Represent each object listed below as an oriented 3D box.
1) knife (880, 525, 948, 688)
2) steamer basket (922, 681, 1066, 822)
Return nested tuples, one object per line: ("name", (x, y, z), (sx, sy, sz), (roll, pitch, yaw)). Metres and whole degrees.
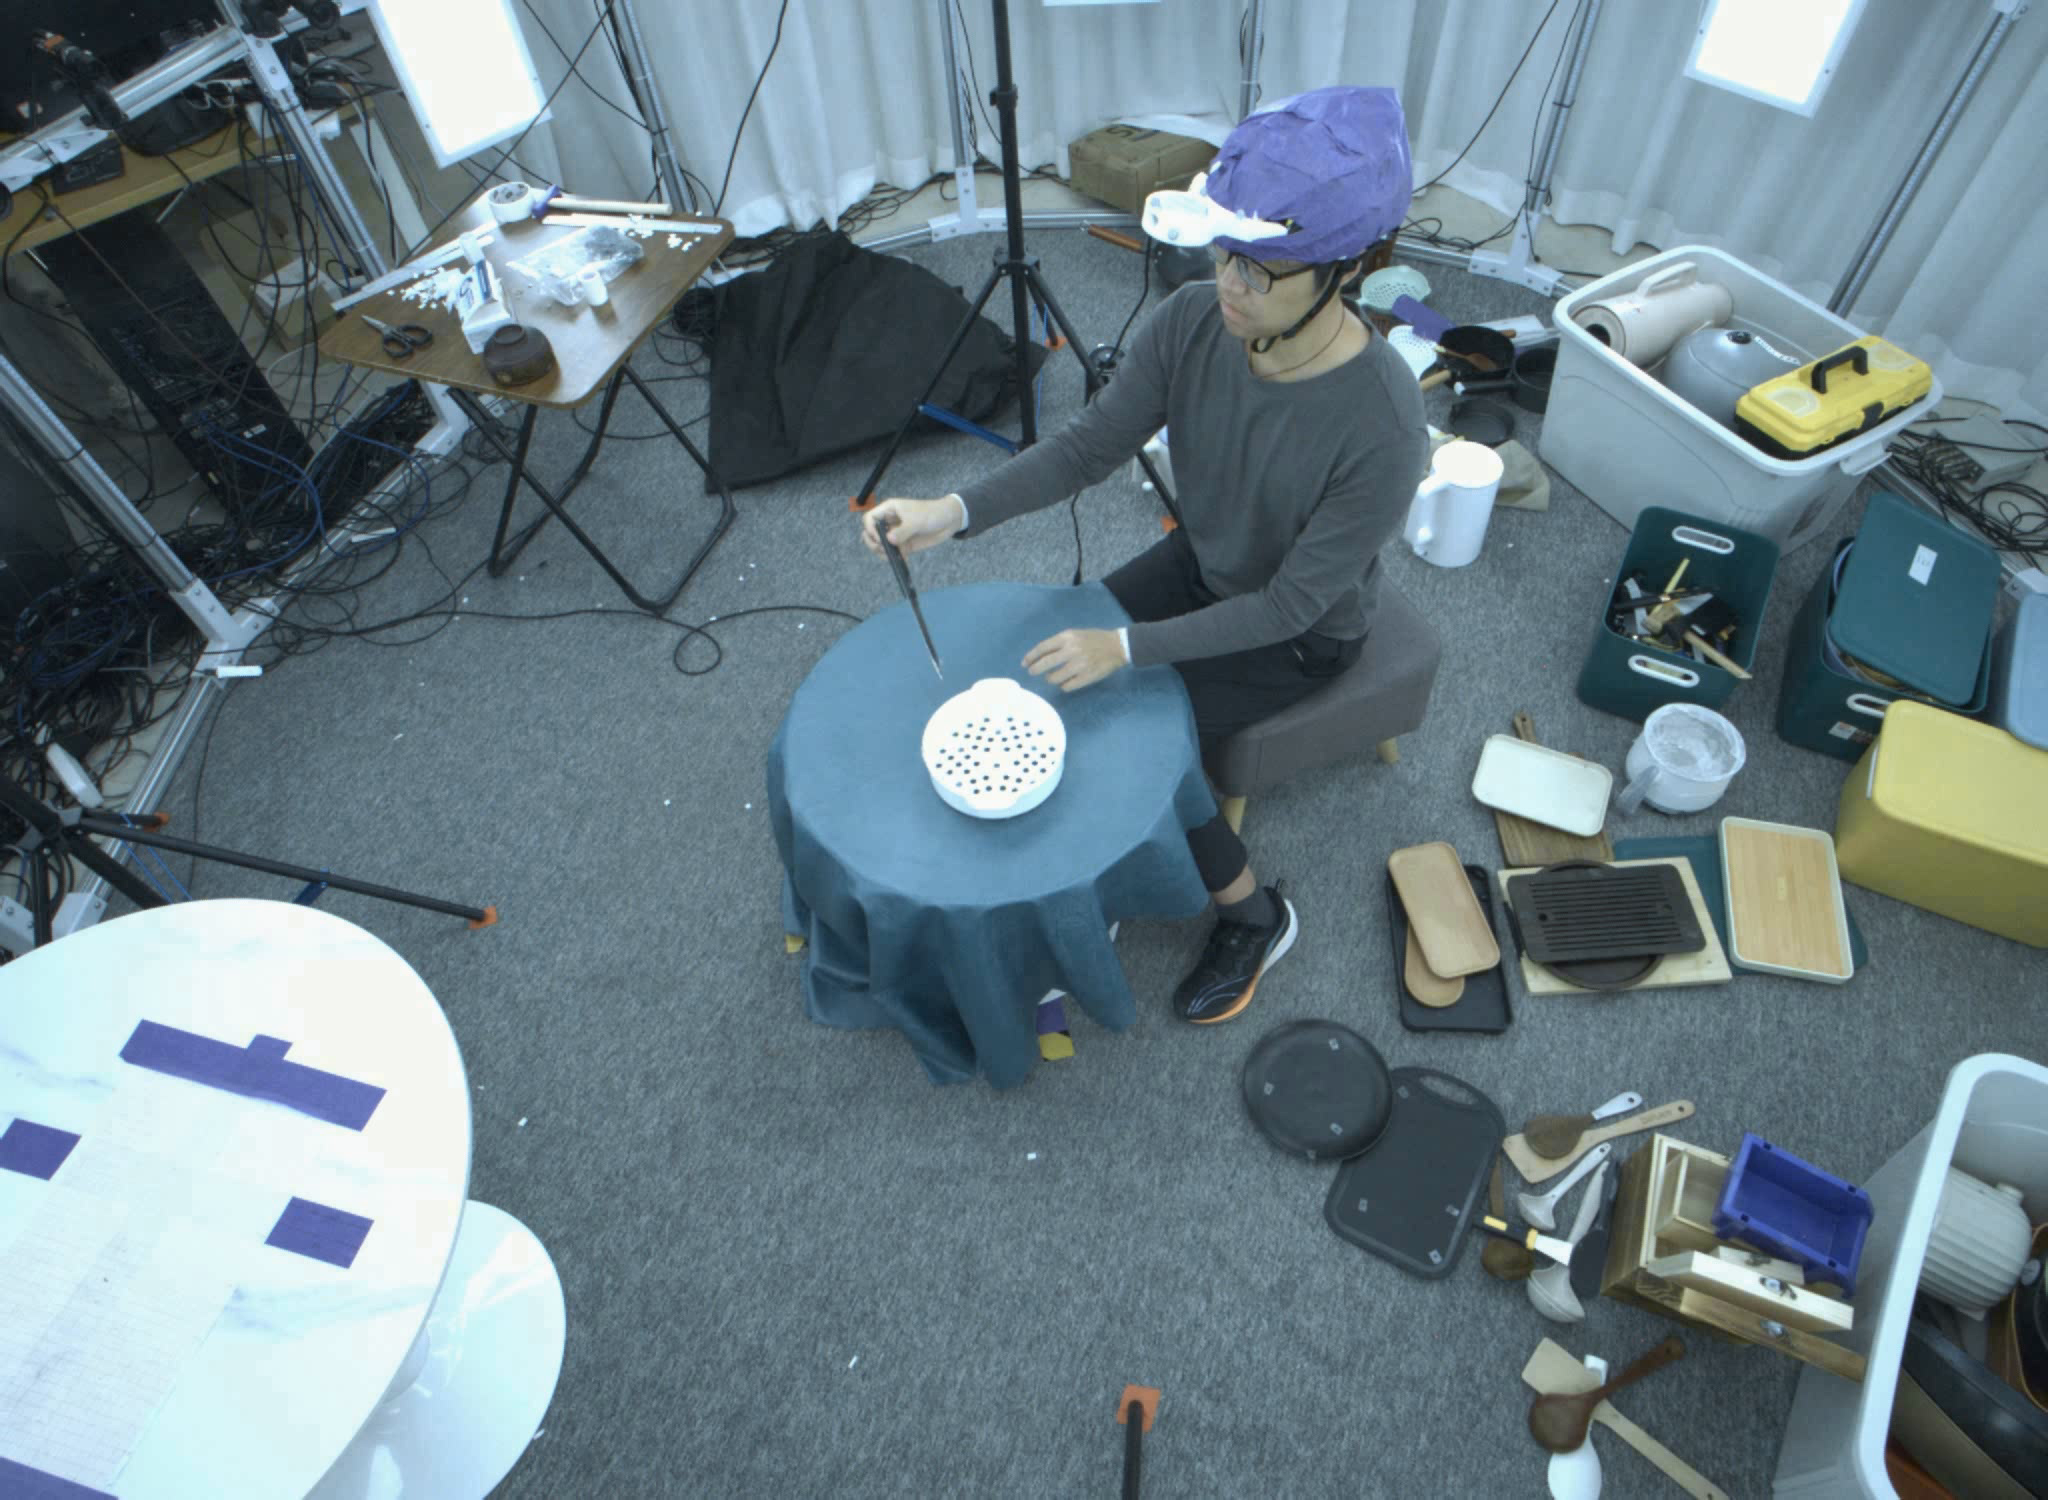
("knife", (-0.148, -0.193, 1.643), (0.016, 0.024, 0.238), (-21, 90, 19))
("steamer basket", (-0.041, 0.007, 1.749), (0.202, 0.070, 0.228), (0, 54, 1))
